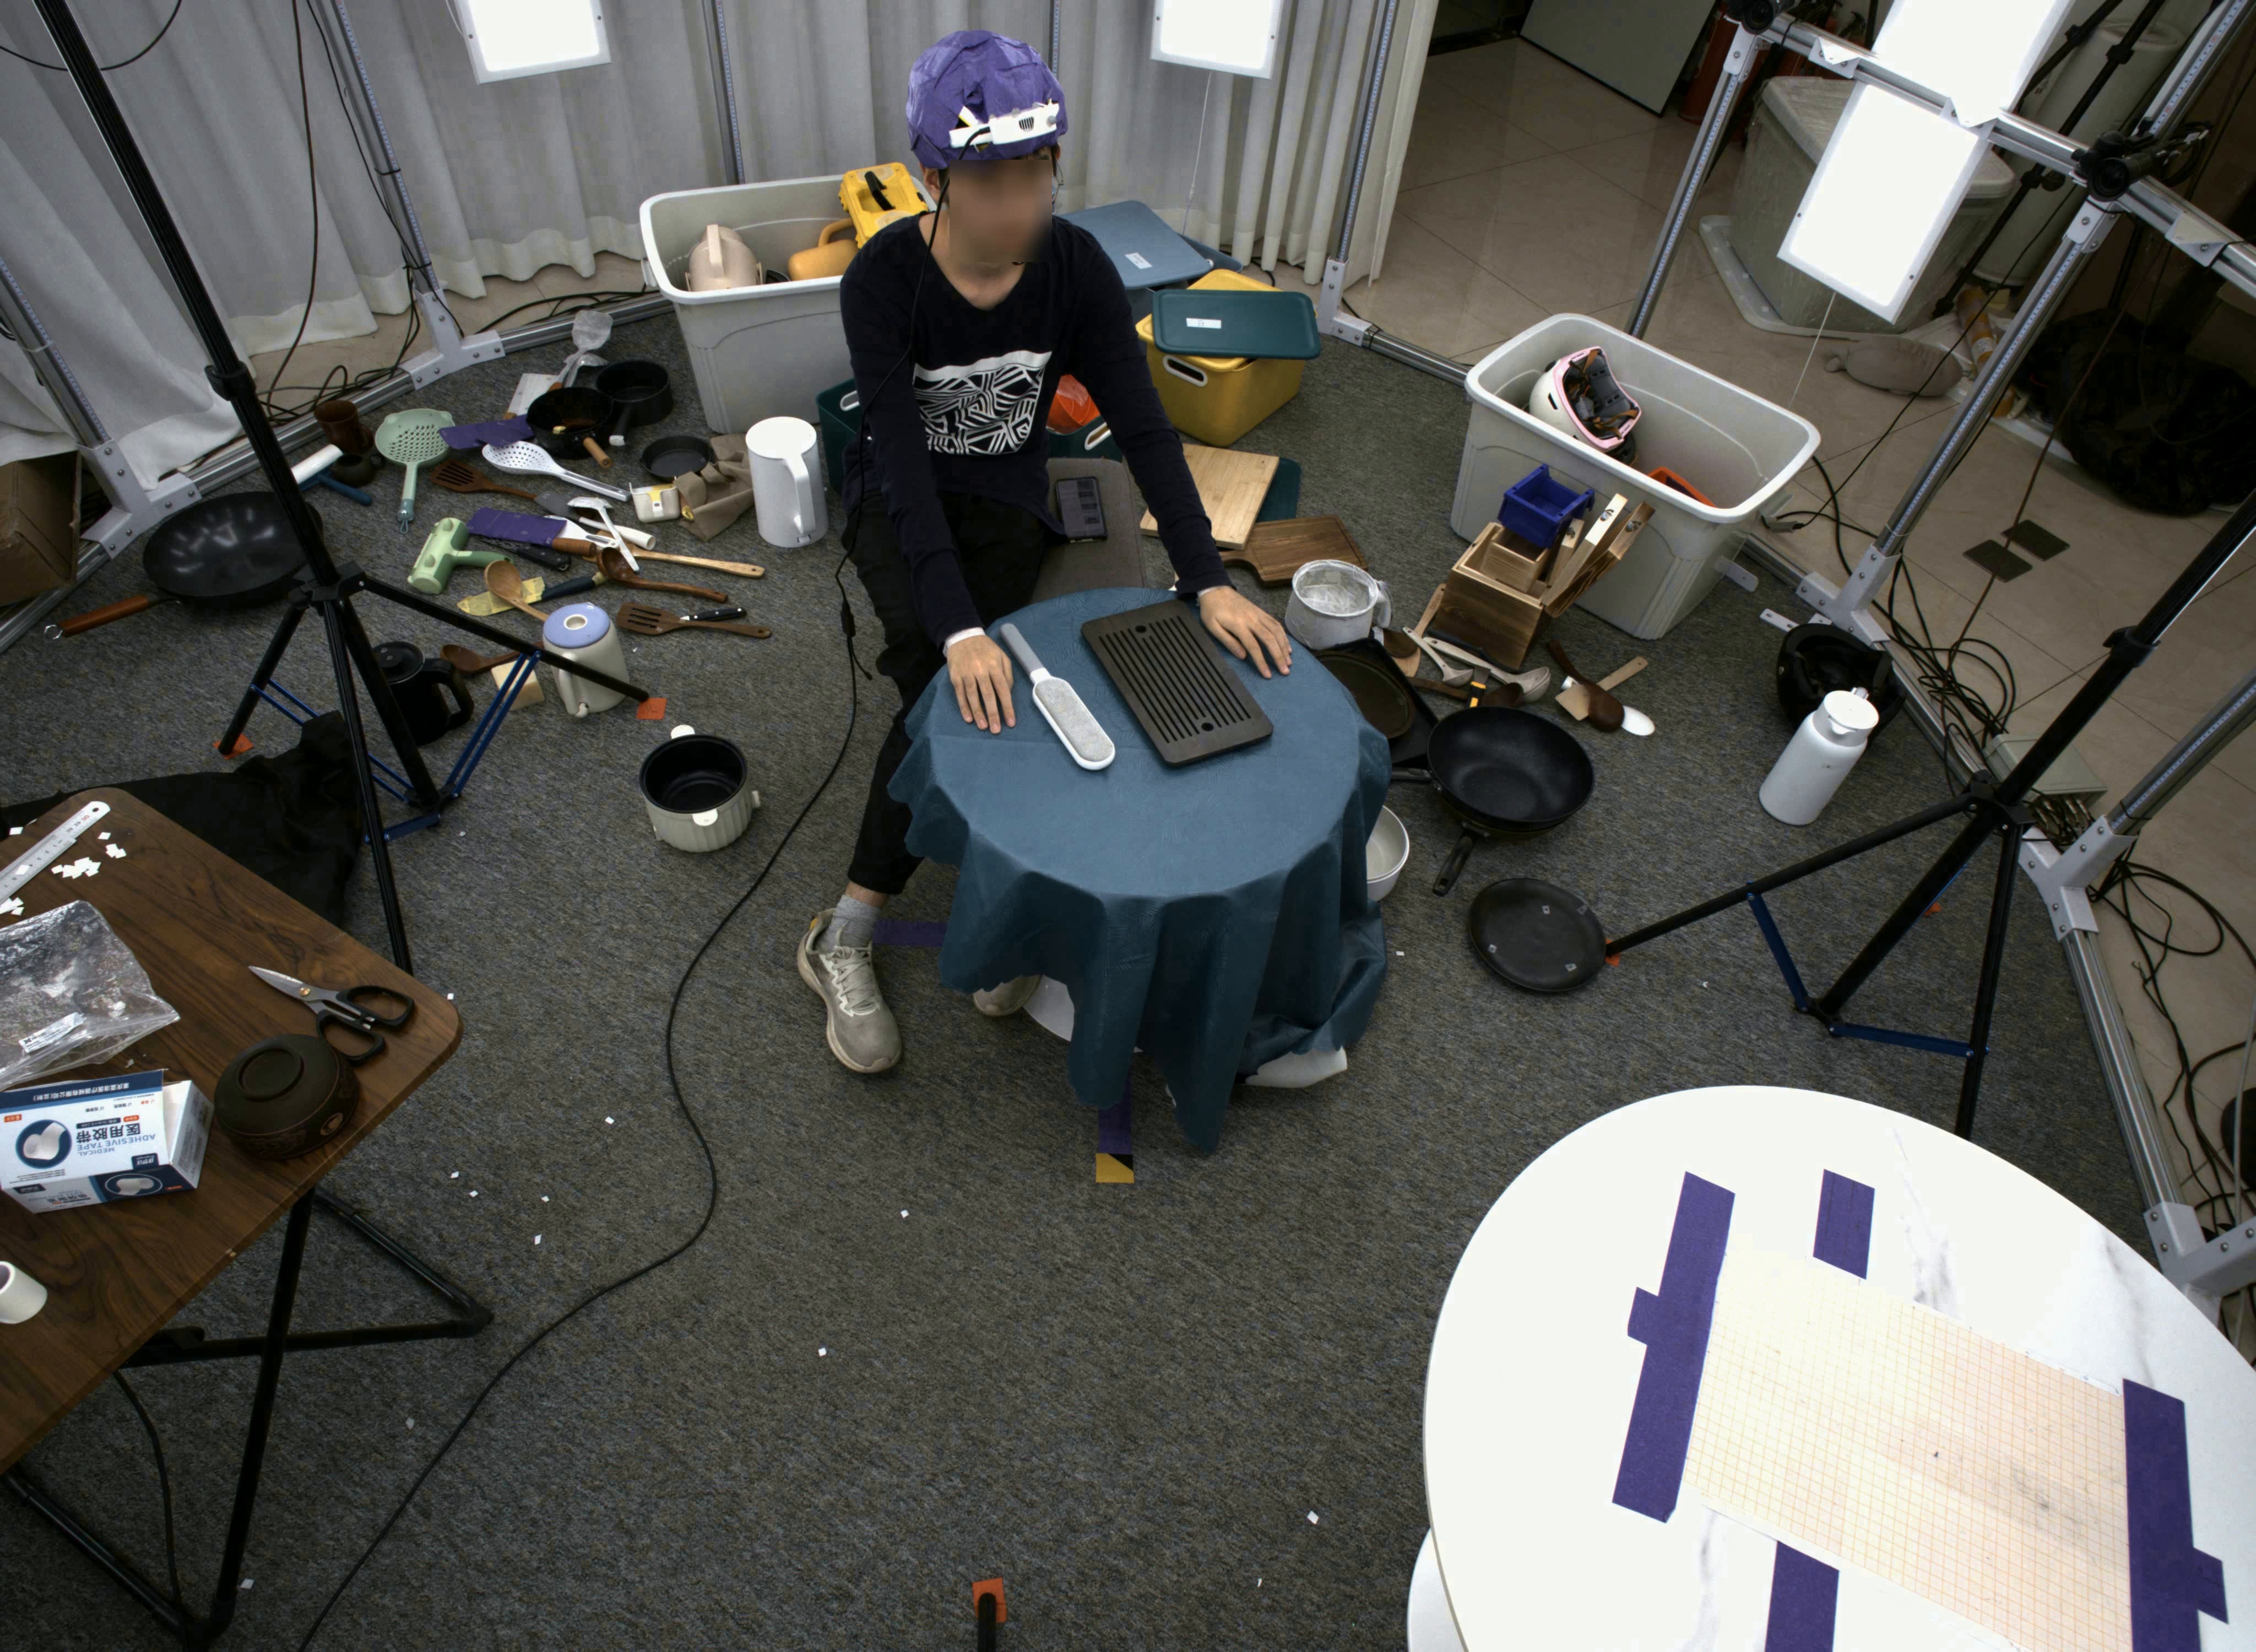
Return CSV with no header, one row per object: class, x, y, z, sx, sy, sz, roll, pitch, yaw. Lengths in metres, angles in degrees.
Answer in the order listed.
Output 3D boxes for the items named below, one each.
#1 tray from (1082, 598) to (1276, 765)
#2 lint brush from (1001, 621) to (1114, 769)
tray,0.069,-0.212,1.845,0.170,0.018,0.313,-18,52,-18
lint brush,-0.105,-0.190,1.808,0.060,0.020,0.315,-23,54,-16
